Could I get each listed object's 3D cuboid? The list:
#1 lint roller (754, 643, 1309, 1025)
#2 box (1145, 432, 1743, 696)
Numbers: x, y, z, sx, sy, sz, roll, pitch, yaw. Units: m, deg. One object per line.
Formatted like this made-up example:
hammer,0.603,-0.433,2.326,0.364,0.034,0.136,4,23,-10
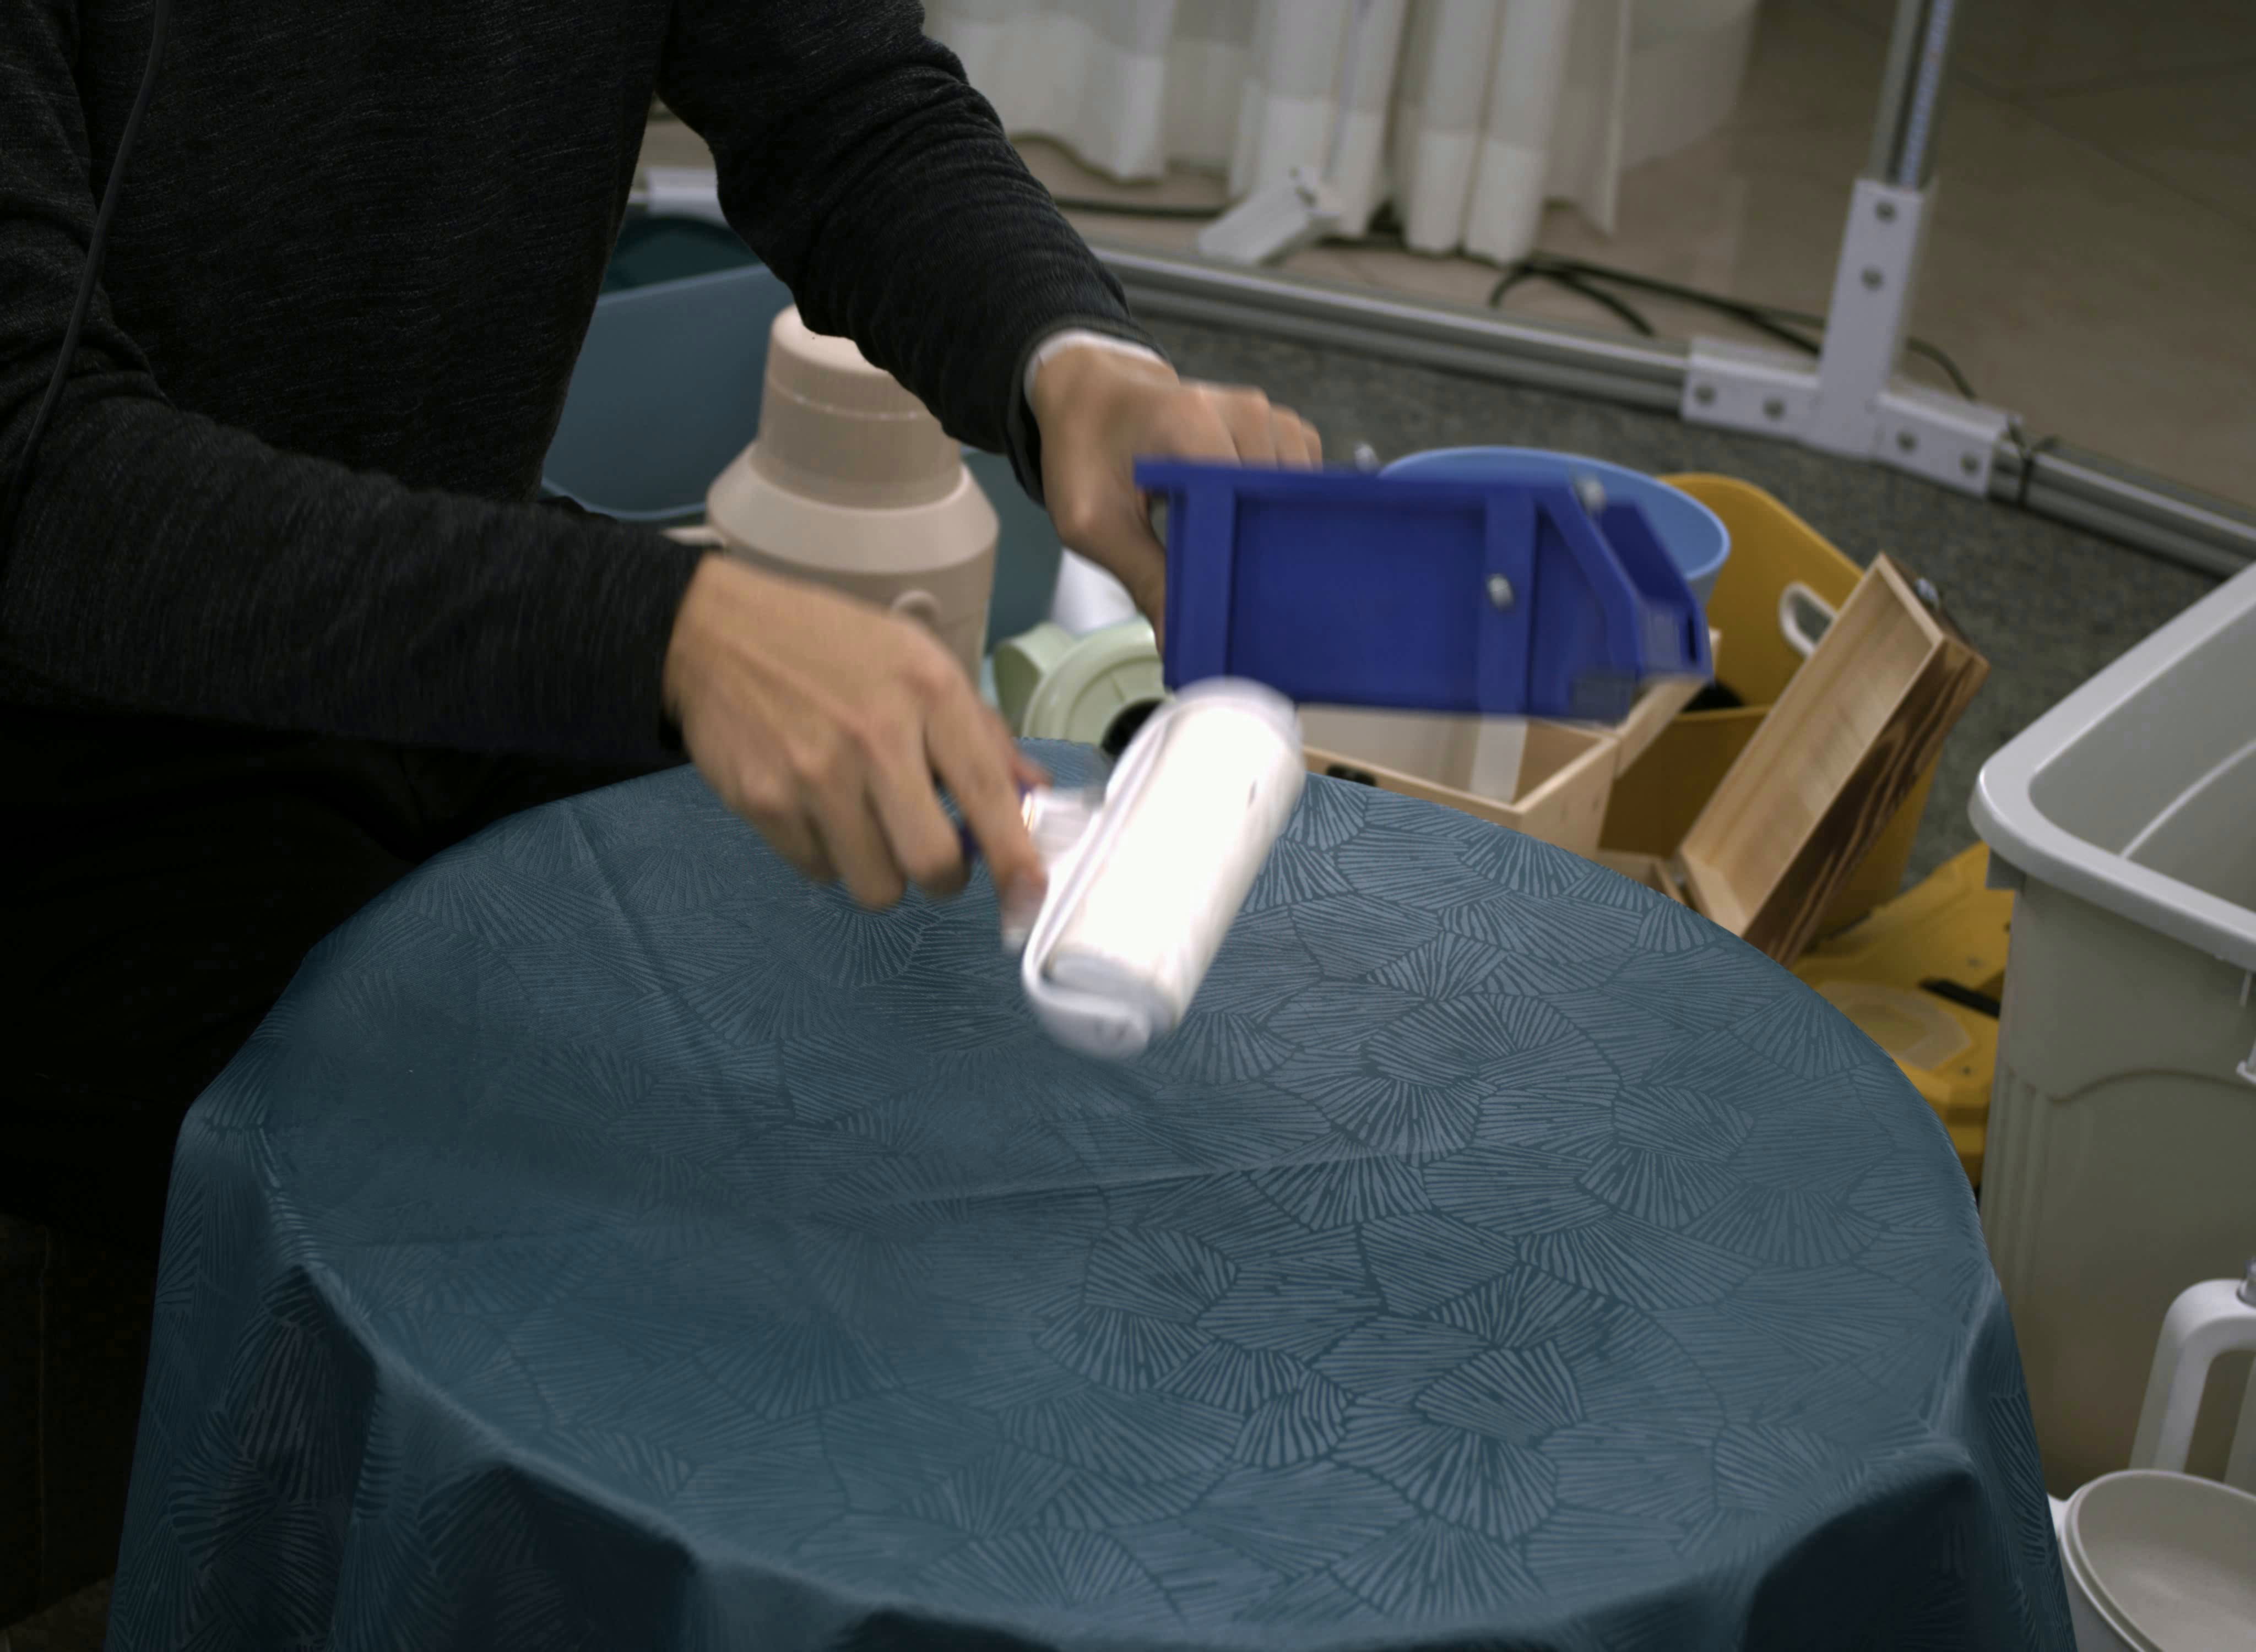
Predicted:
lint roller,-0.041,-0.017,1.704,0.181,0.050,0.133,19,64,19
box,0.110,-0.088,1.817,0.180,0.082,0.124,0,-3,21
